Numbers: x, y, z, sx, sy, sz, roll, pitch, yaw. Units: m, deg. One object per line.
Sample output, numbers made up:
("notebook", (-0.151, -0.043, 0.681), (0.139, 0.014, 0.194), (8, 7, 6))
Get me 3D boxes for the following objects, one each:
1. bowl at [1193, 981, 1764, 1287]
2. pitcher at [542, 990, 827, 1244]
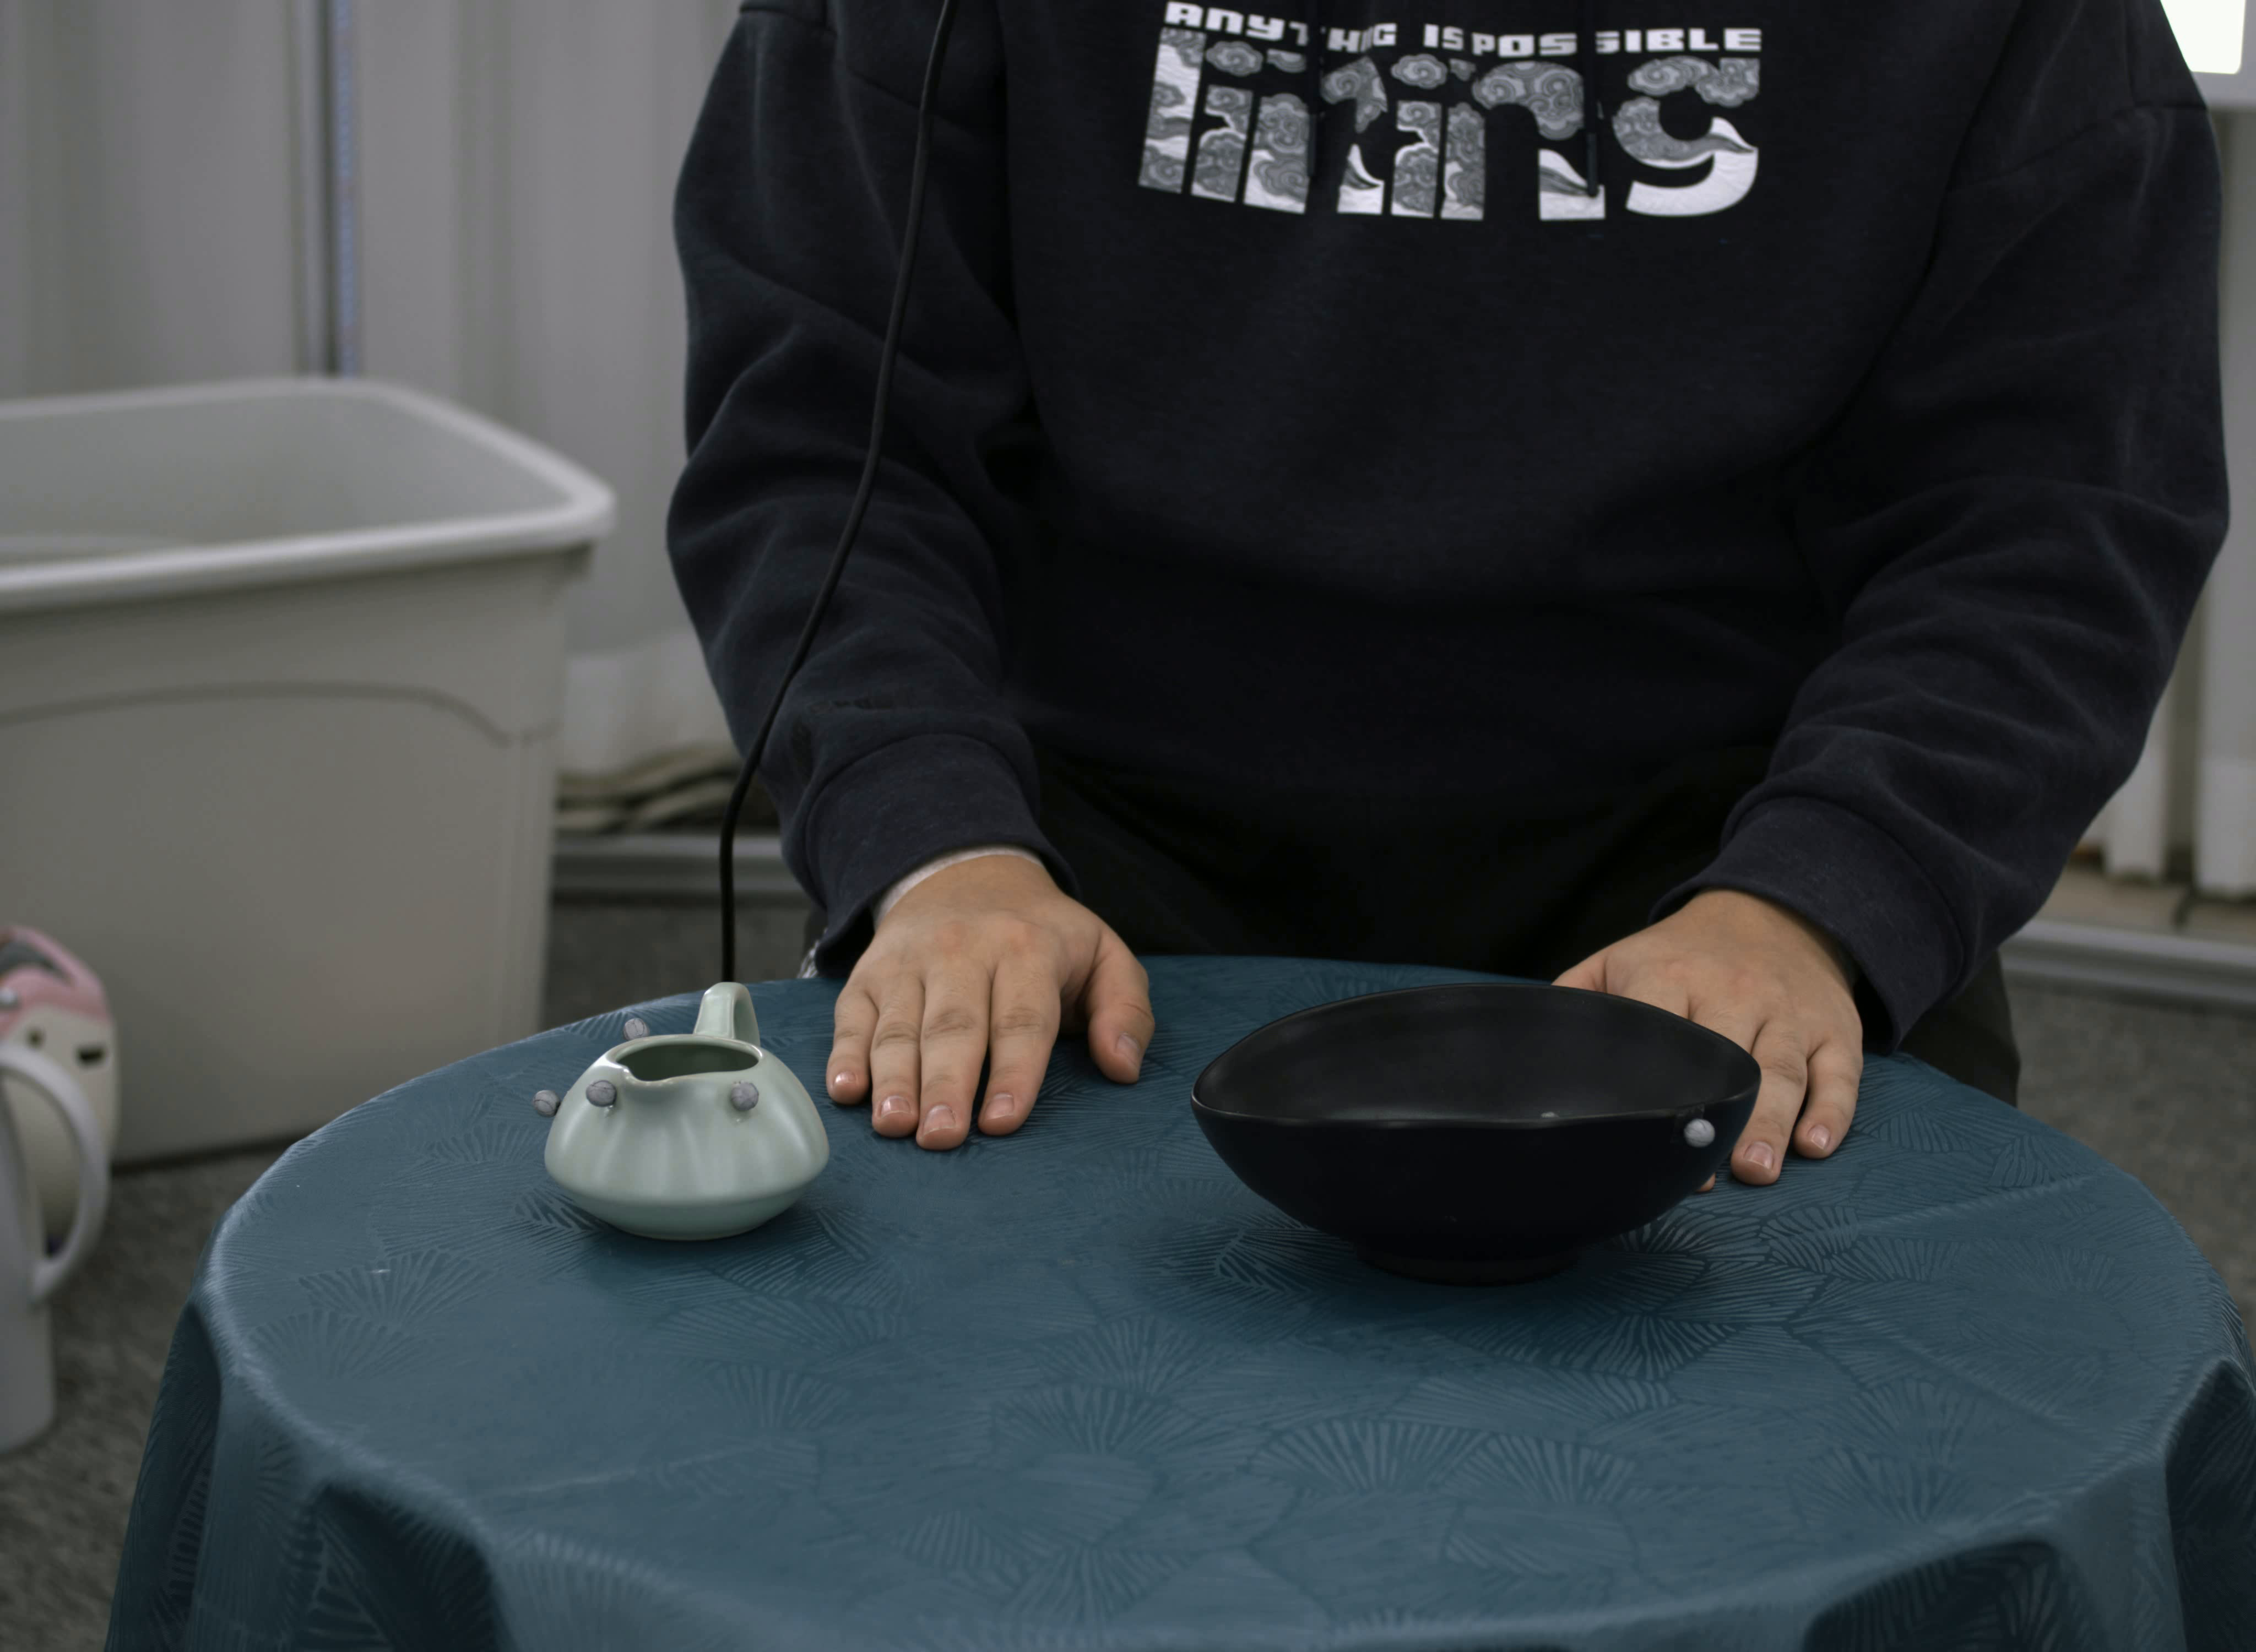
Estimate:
("bowl", (0.104, 0.097, 1.571), (0.170, 0.067, 0.136), (-1, 15, -4))
("pitcher", (-0.132, 0.089, 1.601), (0.085, 0.061, 0.108), (4, 14, 9))
